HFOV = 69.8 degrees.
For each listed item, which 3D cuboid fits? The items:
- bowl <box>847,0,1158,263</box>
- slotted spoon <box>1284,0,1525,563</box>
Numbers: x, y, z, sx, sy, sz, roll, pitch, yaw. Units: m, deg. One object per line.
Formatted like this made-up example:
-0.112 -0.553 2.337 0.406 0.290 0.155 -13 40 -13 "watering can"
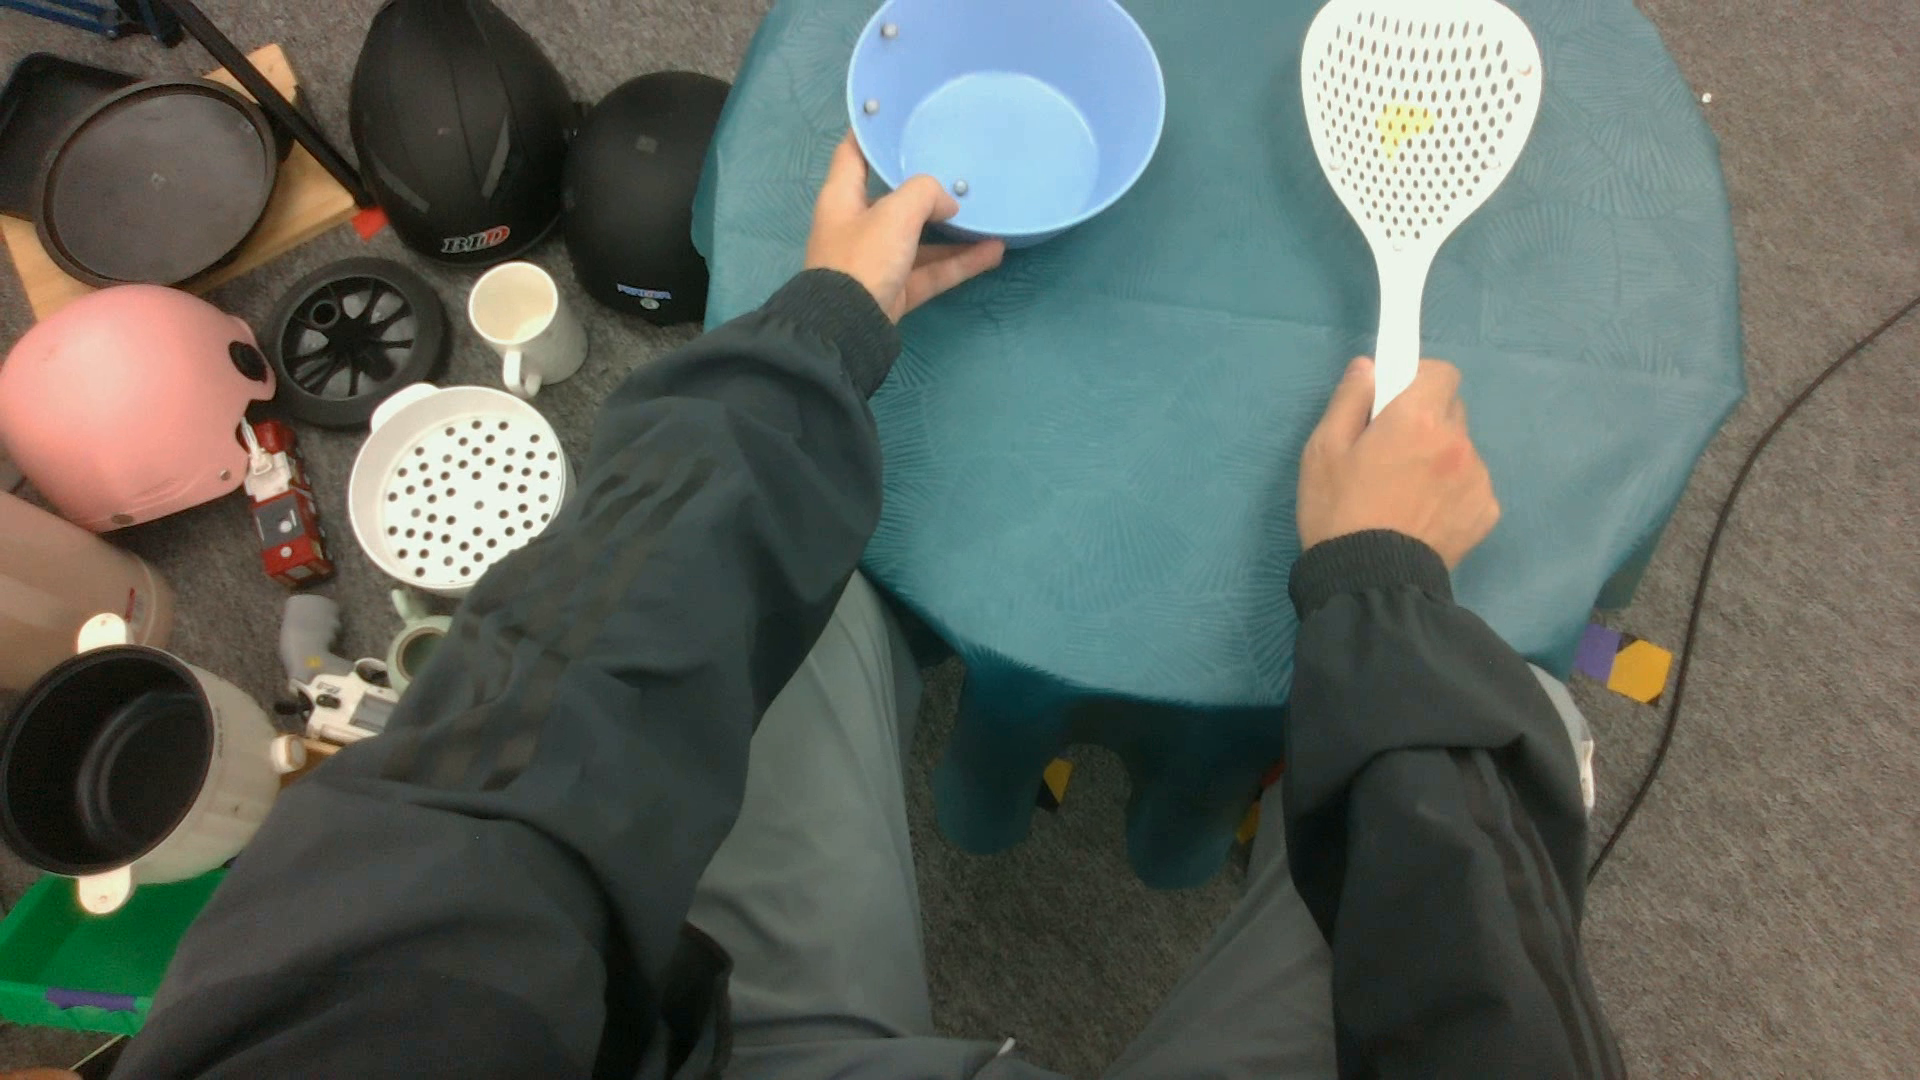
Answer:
0.024 -0.230 0.808 0.176 0.070 0.176 0 71 1 "bowl"
0.247 -0.159 0.784 0.137 0.050 0.349 5 71 7 "slotted spoon"
